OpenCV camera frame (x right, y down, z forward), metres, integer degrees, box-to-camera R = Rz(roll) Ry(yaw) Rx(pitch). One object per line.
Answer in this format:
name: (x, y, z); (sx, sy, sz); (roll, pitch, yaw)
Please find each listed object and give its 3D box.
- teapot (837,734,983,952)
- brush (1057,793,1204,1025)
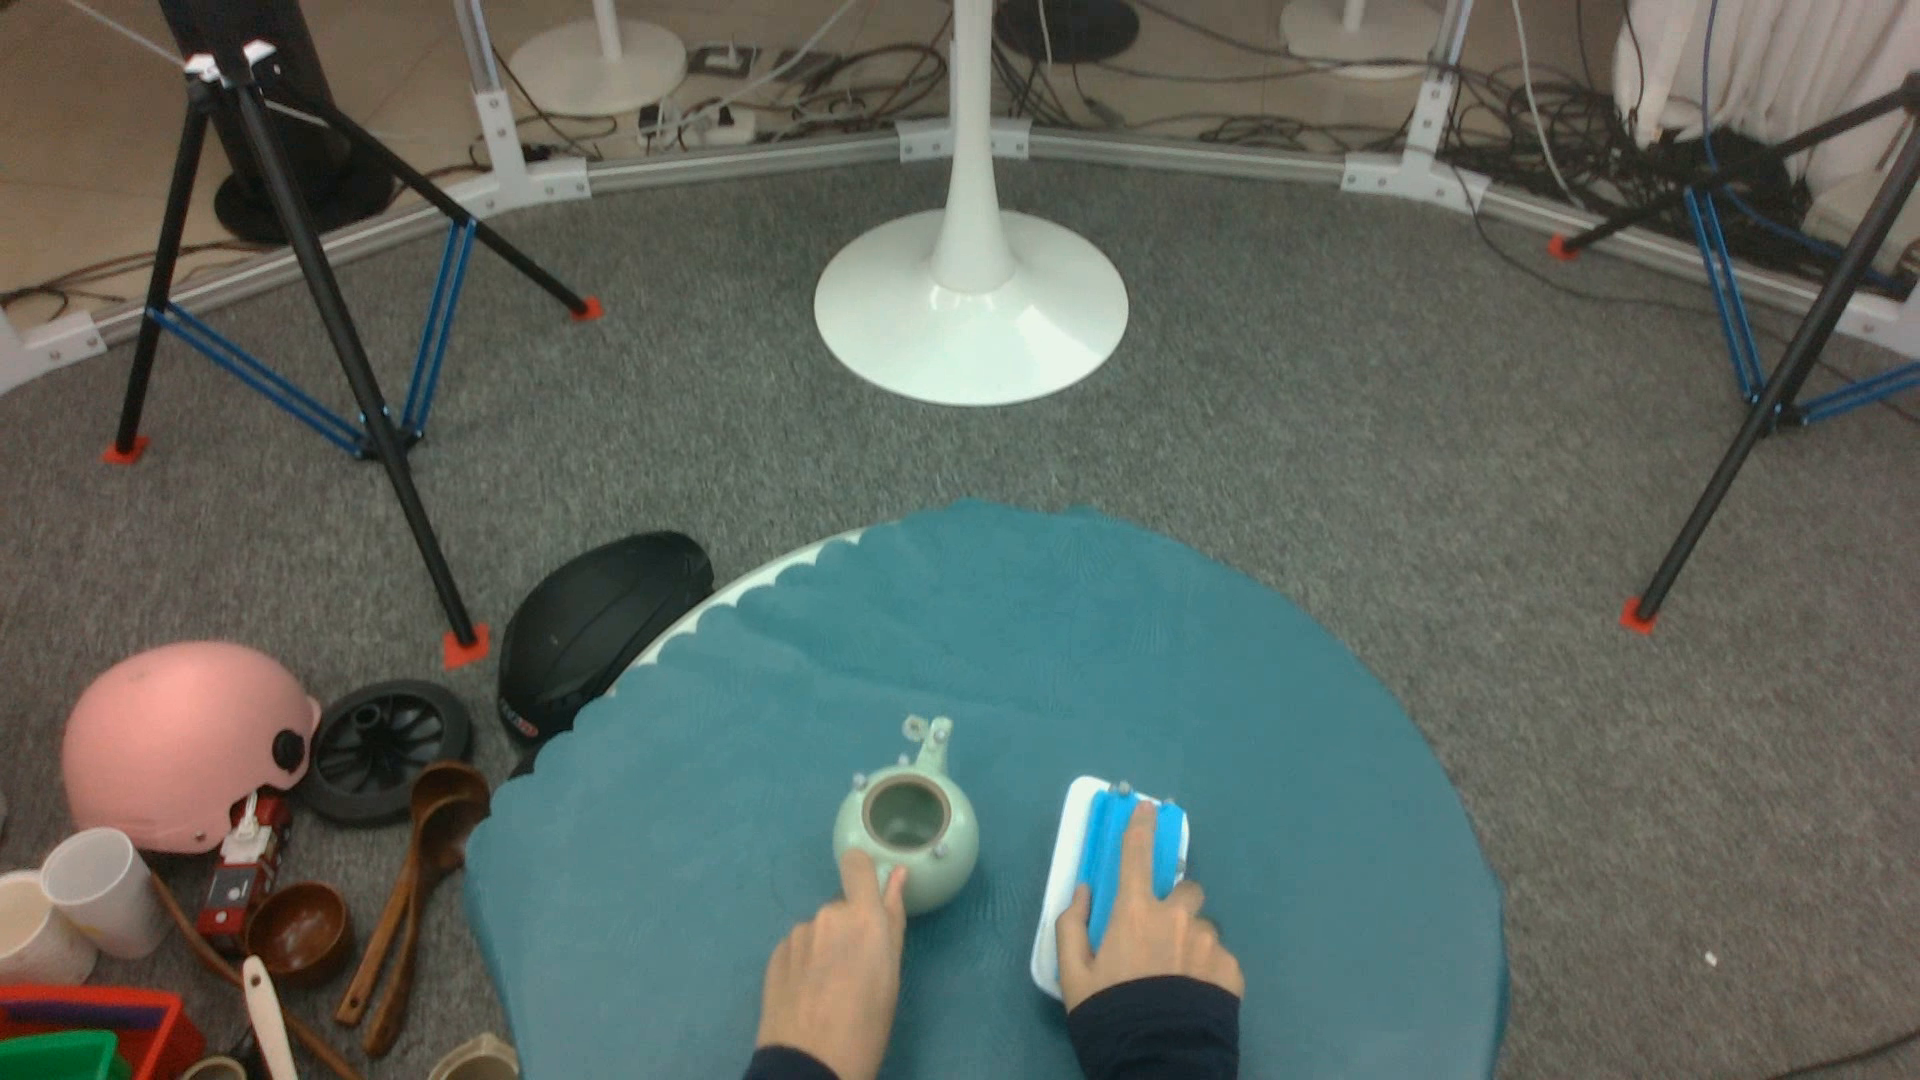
teapot: (-0.030, 0.190, 0.836); (0.088, 0.074, 0.144); (16, 44, 13)
brush: (0.102, 0.207, 0.806); (0.084, 0.055, 0.144); (6, 45, 1)
